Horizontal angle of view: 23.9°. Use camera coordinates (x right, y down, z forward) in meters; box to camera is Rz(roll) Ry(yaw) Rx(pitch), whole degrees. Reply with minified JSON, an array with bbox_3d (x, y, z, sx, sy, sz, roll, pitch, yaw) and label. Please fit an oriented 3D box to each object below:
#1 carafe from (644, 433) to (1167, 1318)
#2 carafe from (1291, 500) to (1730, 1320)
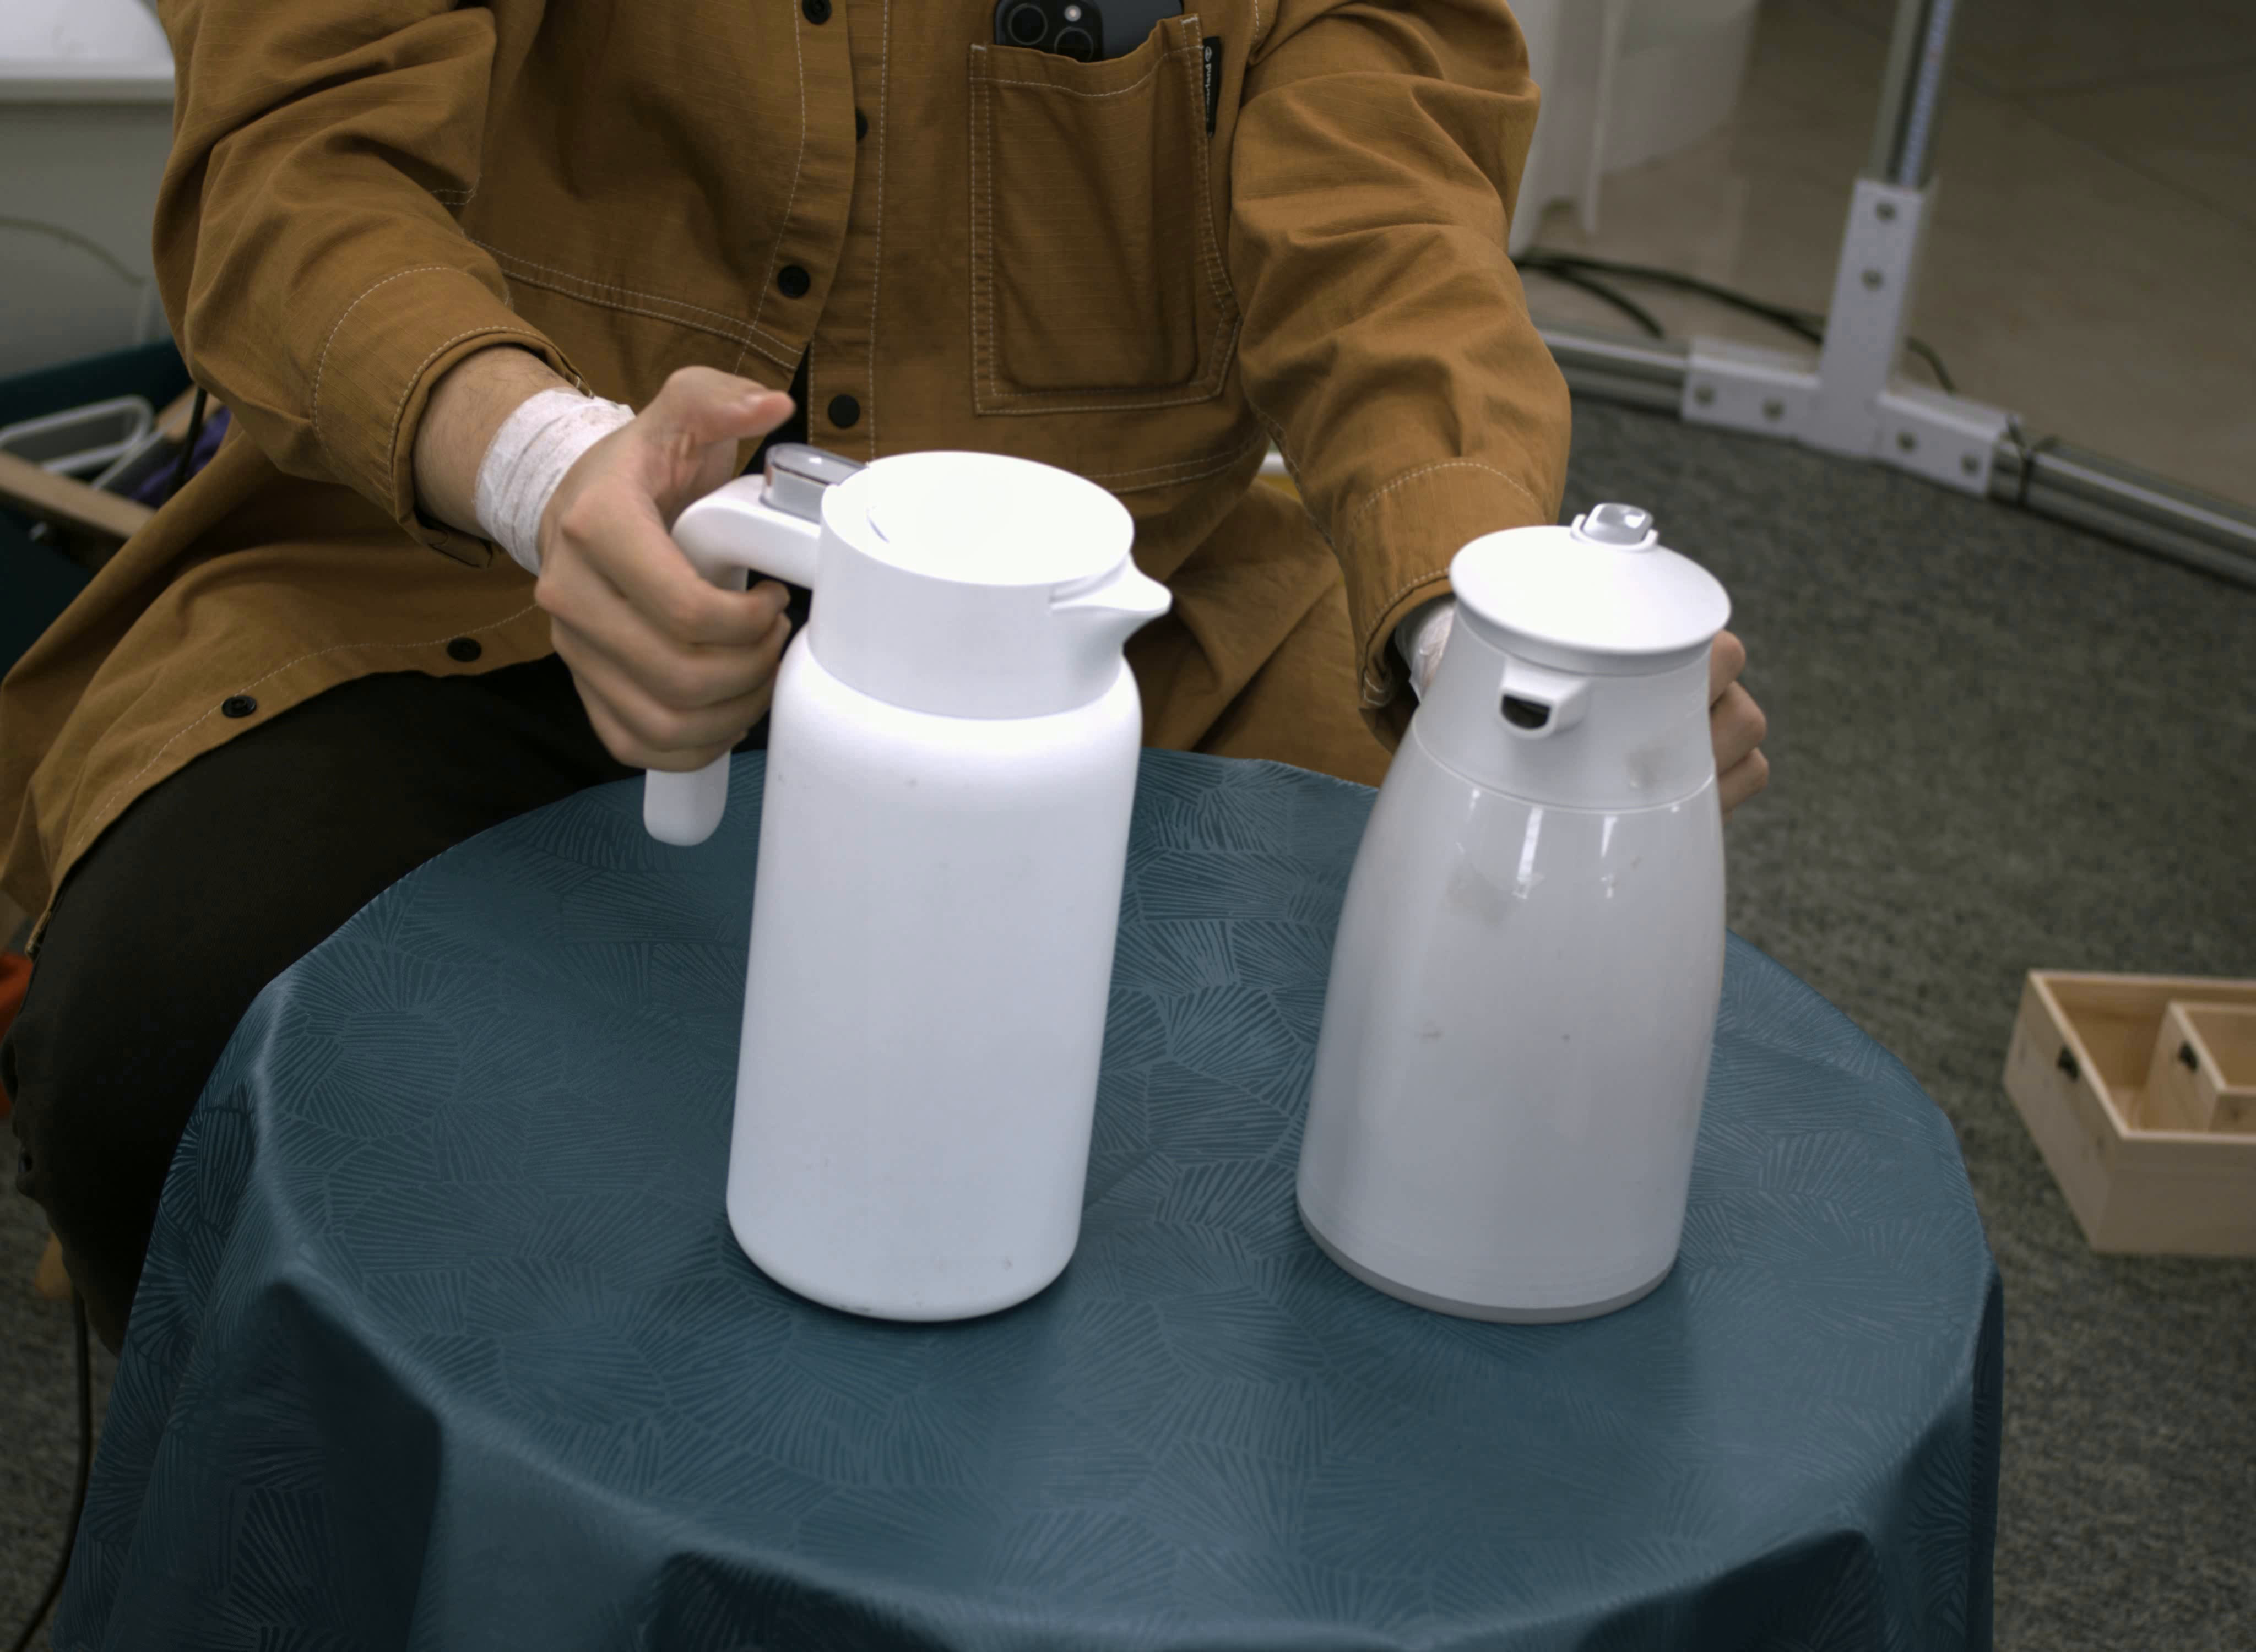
[{"bbox_3d":[-0.078,0.013,1.710,0.173,0.268,0.124,19,31,23],"label":"carafe"},{"bbox_3d":[0.140,0.017,1.774,0.133,0.248,0.168,15,27,15],"label":"carafe"}]
